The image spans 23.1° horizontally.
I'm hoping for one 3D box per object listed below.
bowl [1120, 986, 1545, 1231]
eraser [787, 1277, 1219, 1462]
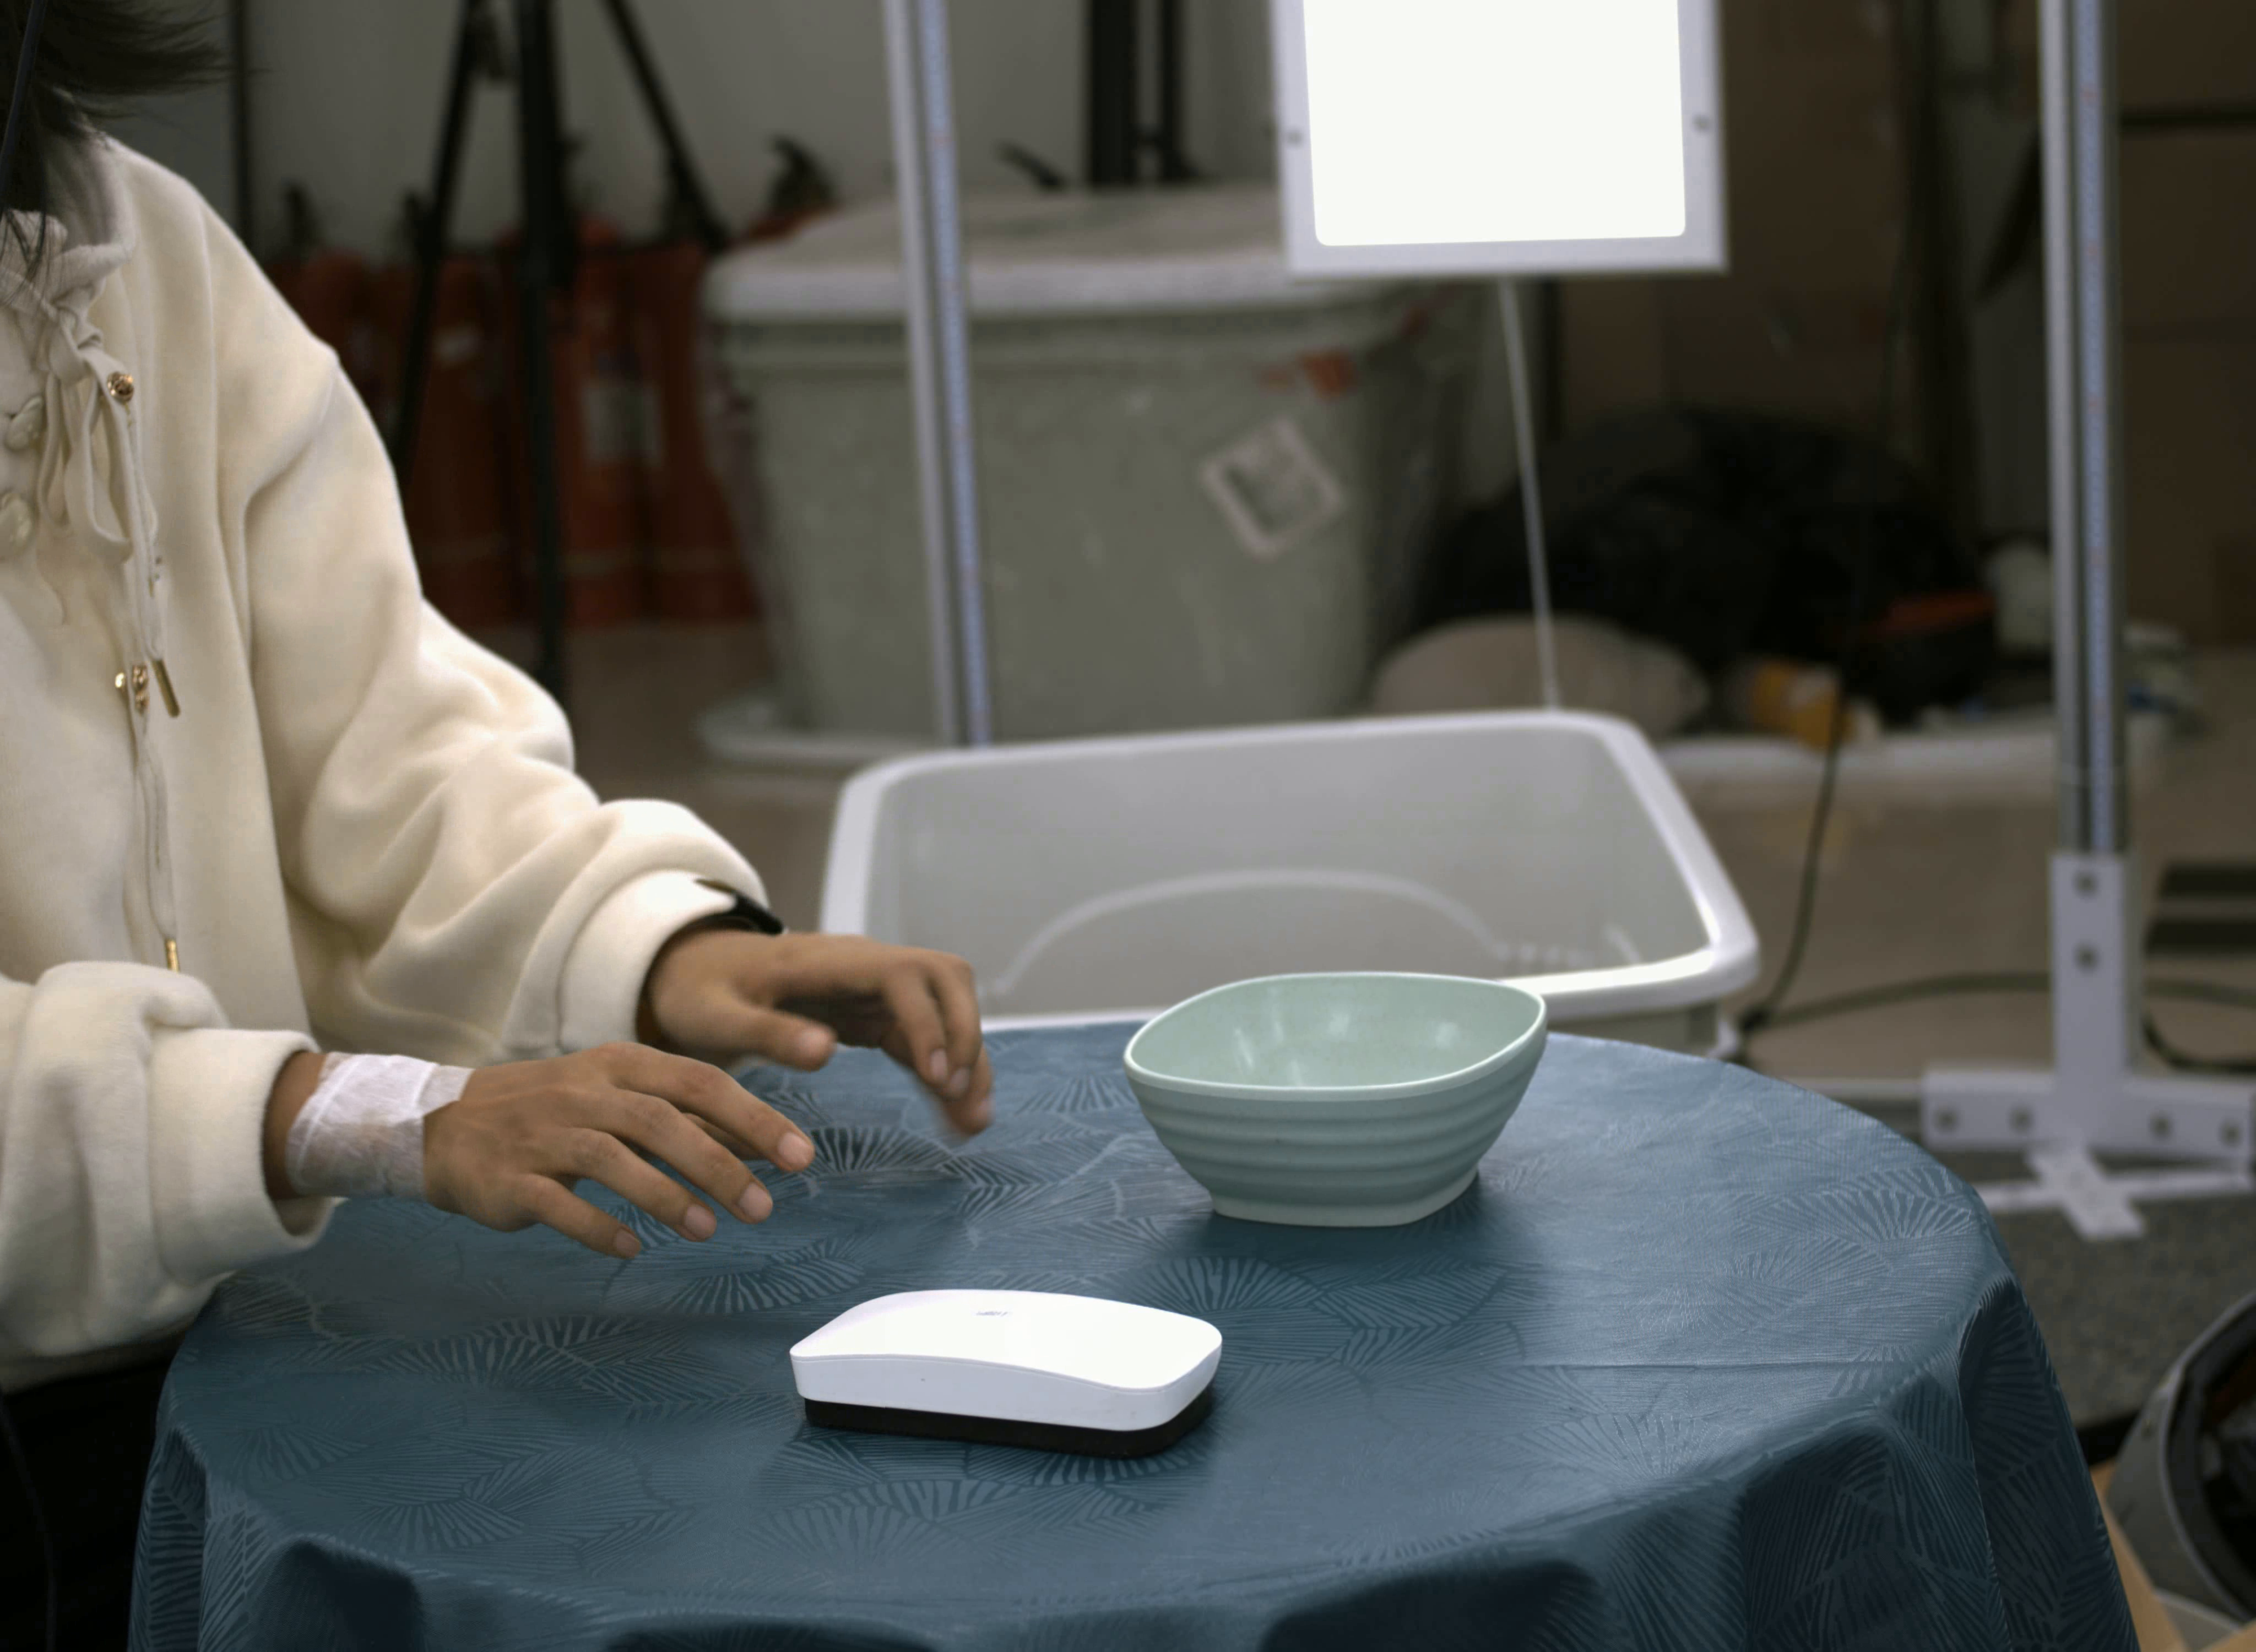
[{"bbox_3d":[0.072,0.098,1.872,0.151,0.059,0.151,-5,12,0],"label":"bowl"},{"bbox_3d":[-0.038,0.166,1.688,0.133,0.034,0.062,3,16,29],"label":"eraser"}]
